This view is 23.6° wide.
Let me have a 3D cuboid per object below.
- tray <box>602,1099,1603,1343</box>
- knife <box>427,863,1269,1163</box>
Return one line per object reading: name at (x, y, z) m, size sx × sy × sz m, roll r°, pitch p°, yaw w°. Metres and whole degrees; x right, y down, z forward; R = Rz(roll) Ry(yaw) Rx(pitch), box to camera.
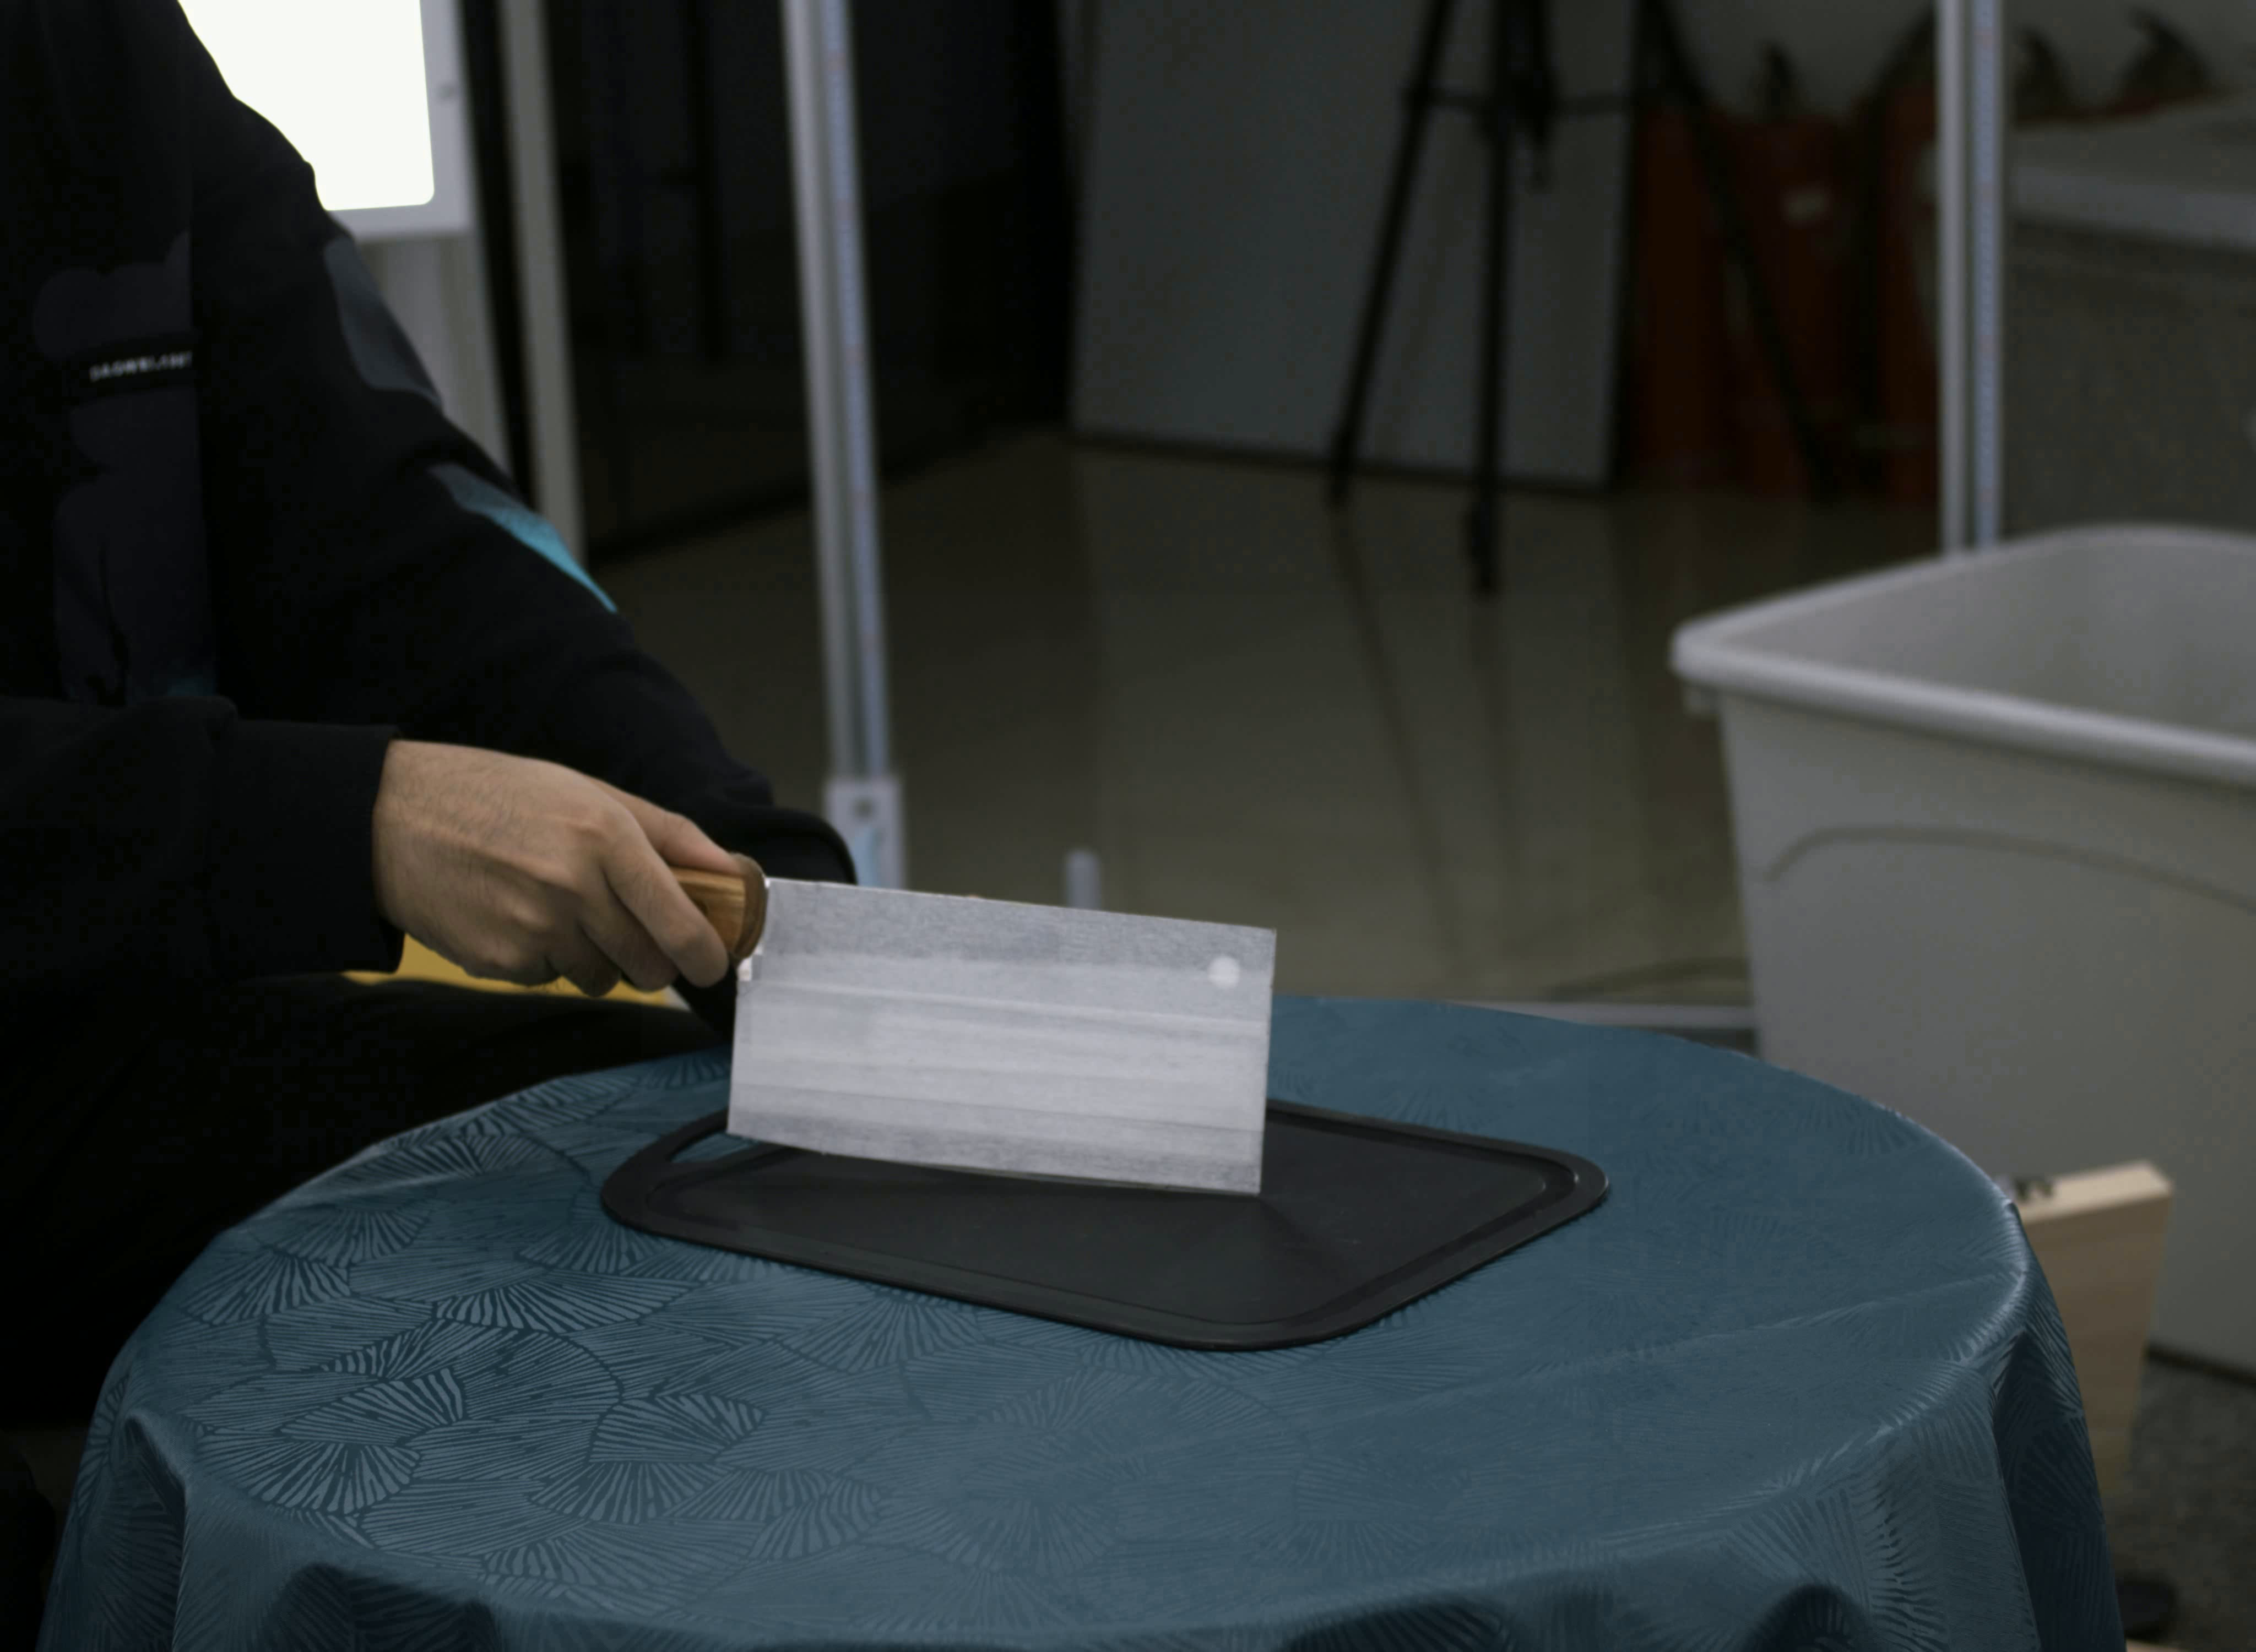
tray at (-0.018, 0.118, 1.773) m, size 0.328 × 0.010 × 0.207 m, roll 8°, pitch 18°, yaw 39°
knife at (-0.097, 0.063, 1.796) m, size 0.305 × 0.094 × 0.021 m, roll 5°, pitch 6°, yaw 21°
